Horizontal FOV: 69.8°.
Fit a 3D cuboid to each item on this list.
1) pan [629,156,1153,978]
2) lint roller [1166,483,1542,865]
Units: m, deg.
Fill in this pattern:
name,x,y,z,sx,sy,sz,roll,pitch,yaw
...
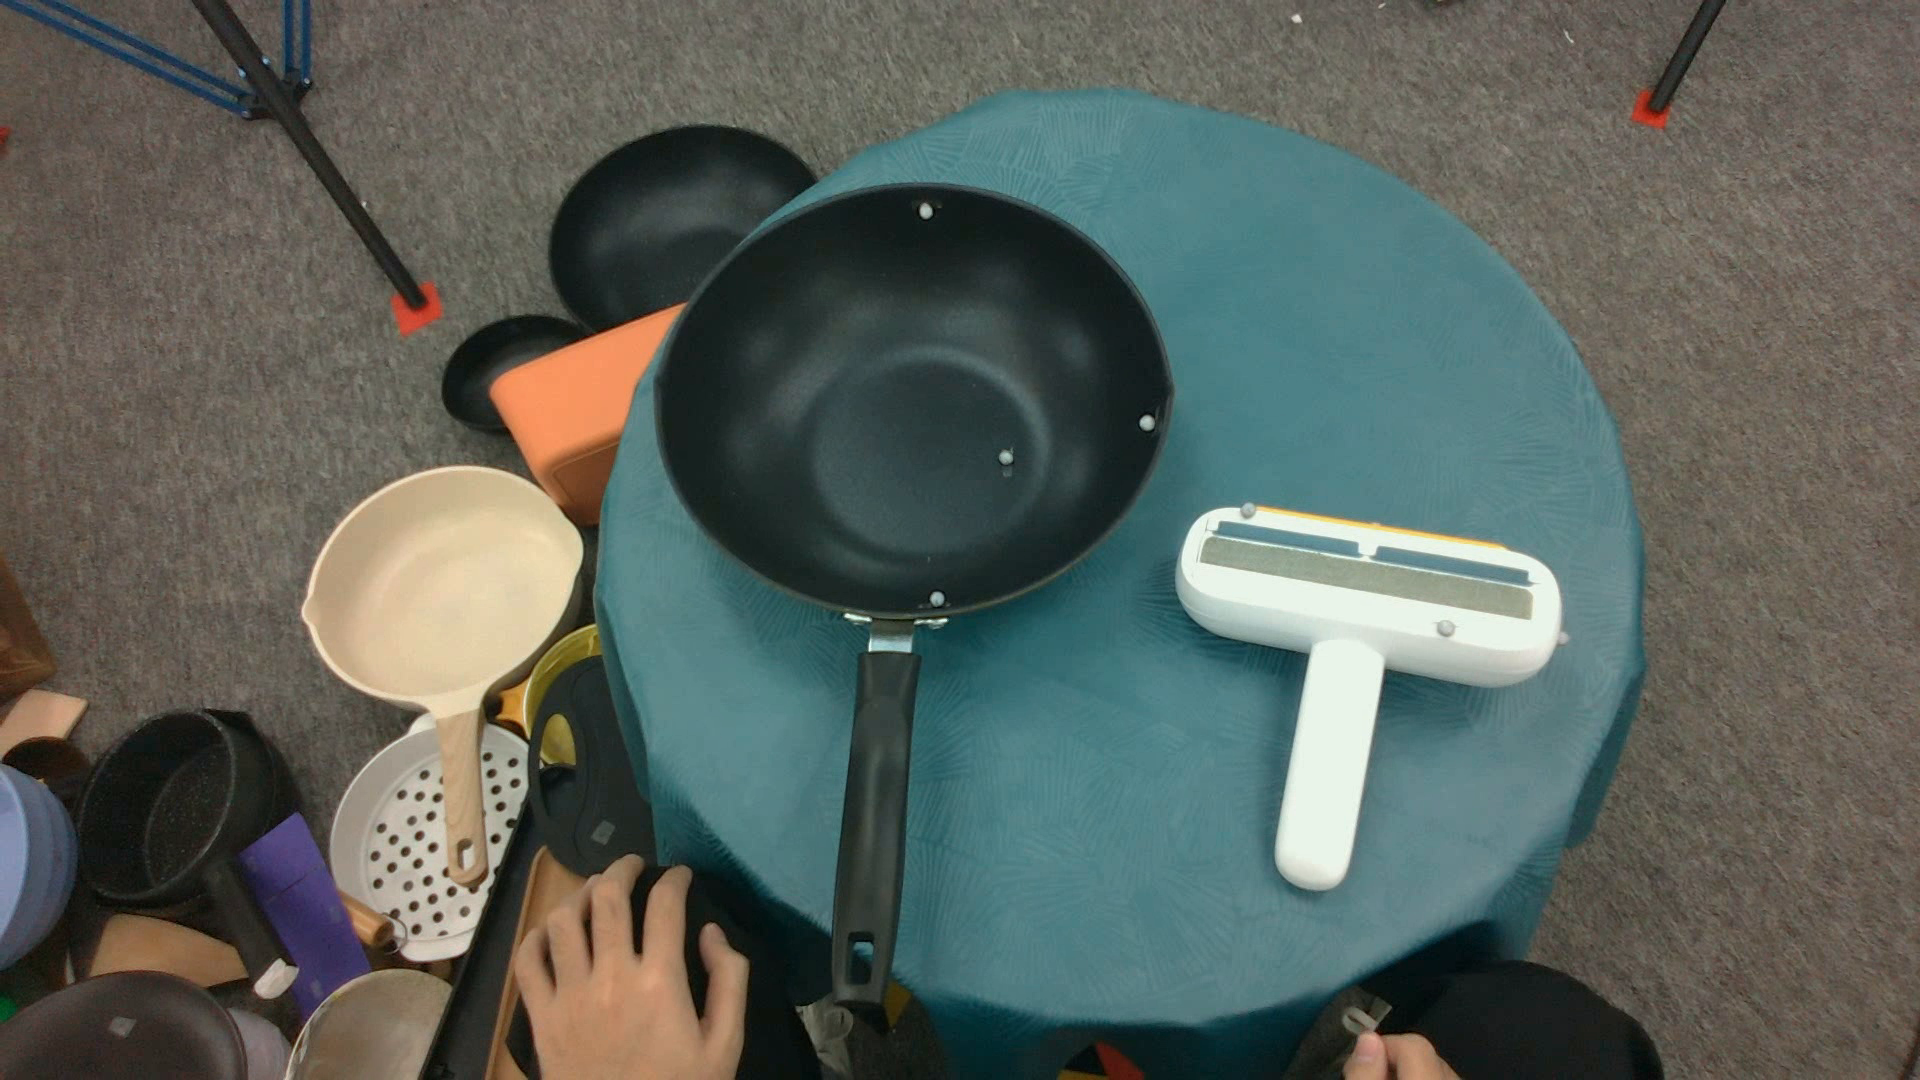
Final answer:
name,x,y,z,sx,sy,sz,roll,pitch,yaw
pan,-0.043,0.000,0.745,0.288,0.086,0.465,2,65,2
lint roller,0.186,0.072,0.715,0.193,0.074,0.193,16,67,14
